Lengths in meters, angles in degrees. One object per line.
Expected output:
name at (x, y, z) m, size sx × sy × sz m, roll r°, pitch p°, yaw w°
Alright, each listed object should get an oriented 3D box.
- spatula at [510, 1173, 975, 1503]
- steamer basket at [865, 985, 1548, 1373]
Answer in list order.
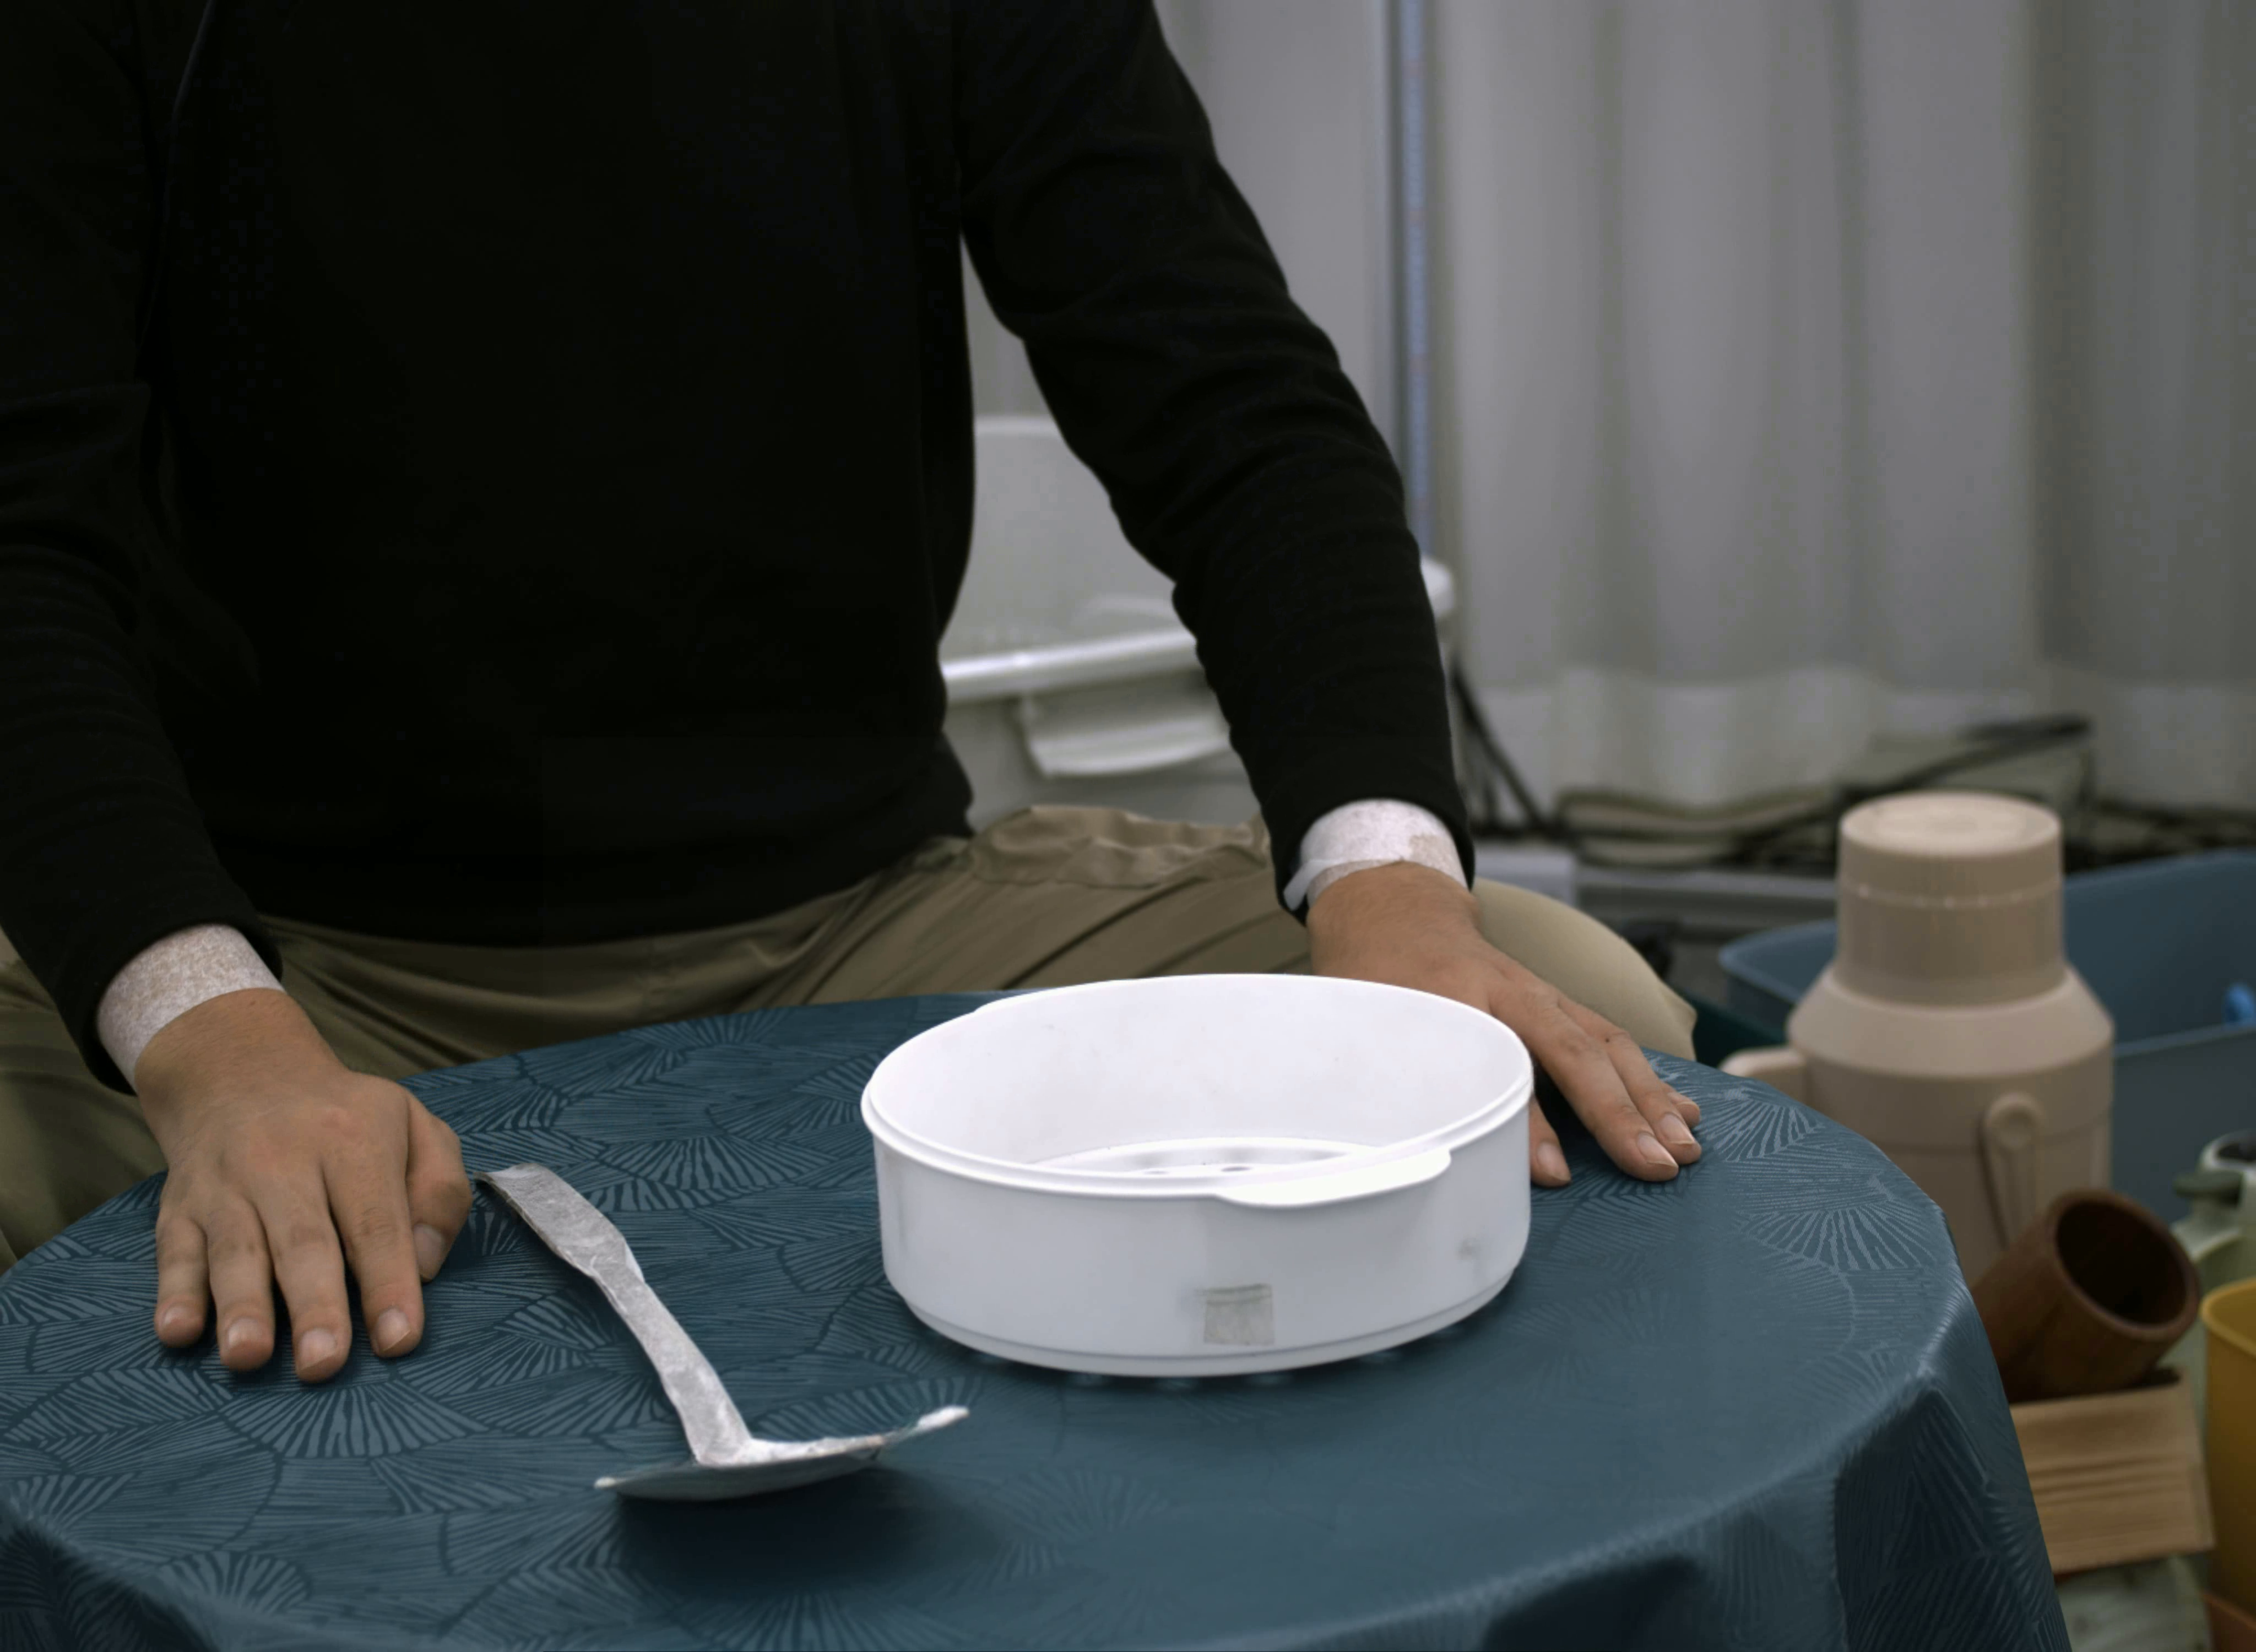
spatula at (-0.136, 0.138, 1.579) m, size 0.098 × 0.044 × 0.368 m, roll -10°, pitch 16°, yaw -17°
steamer basket at (0.024, 0.104, 1.616) m, size 0.201 × 0.069 × 0.232 m, roll -7°, pitch 14°, yaw -21°
